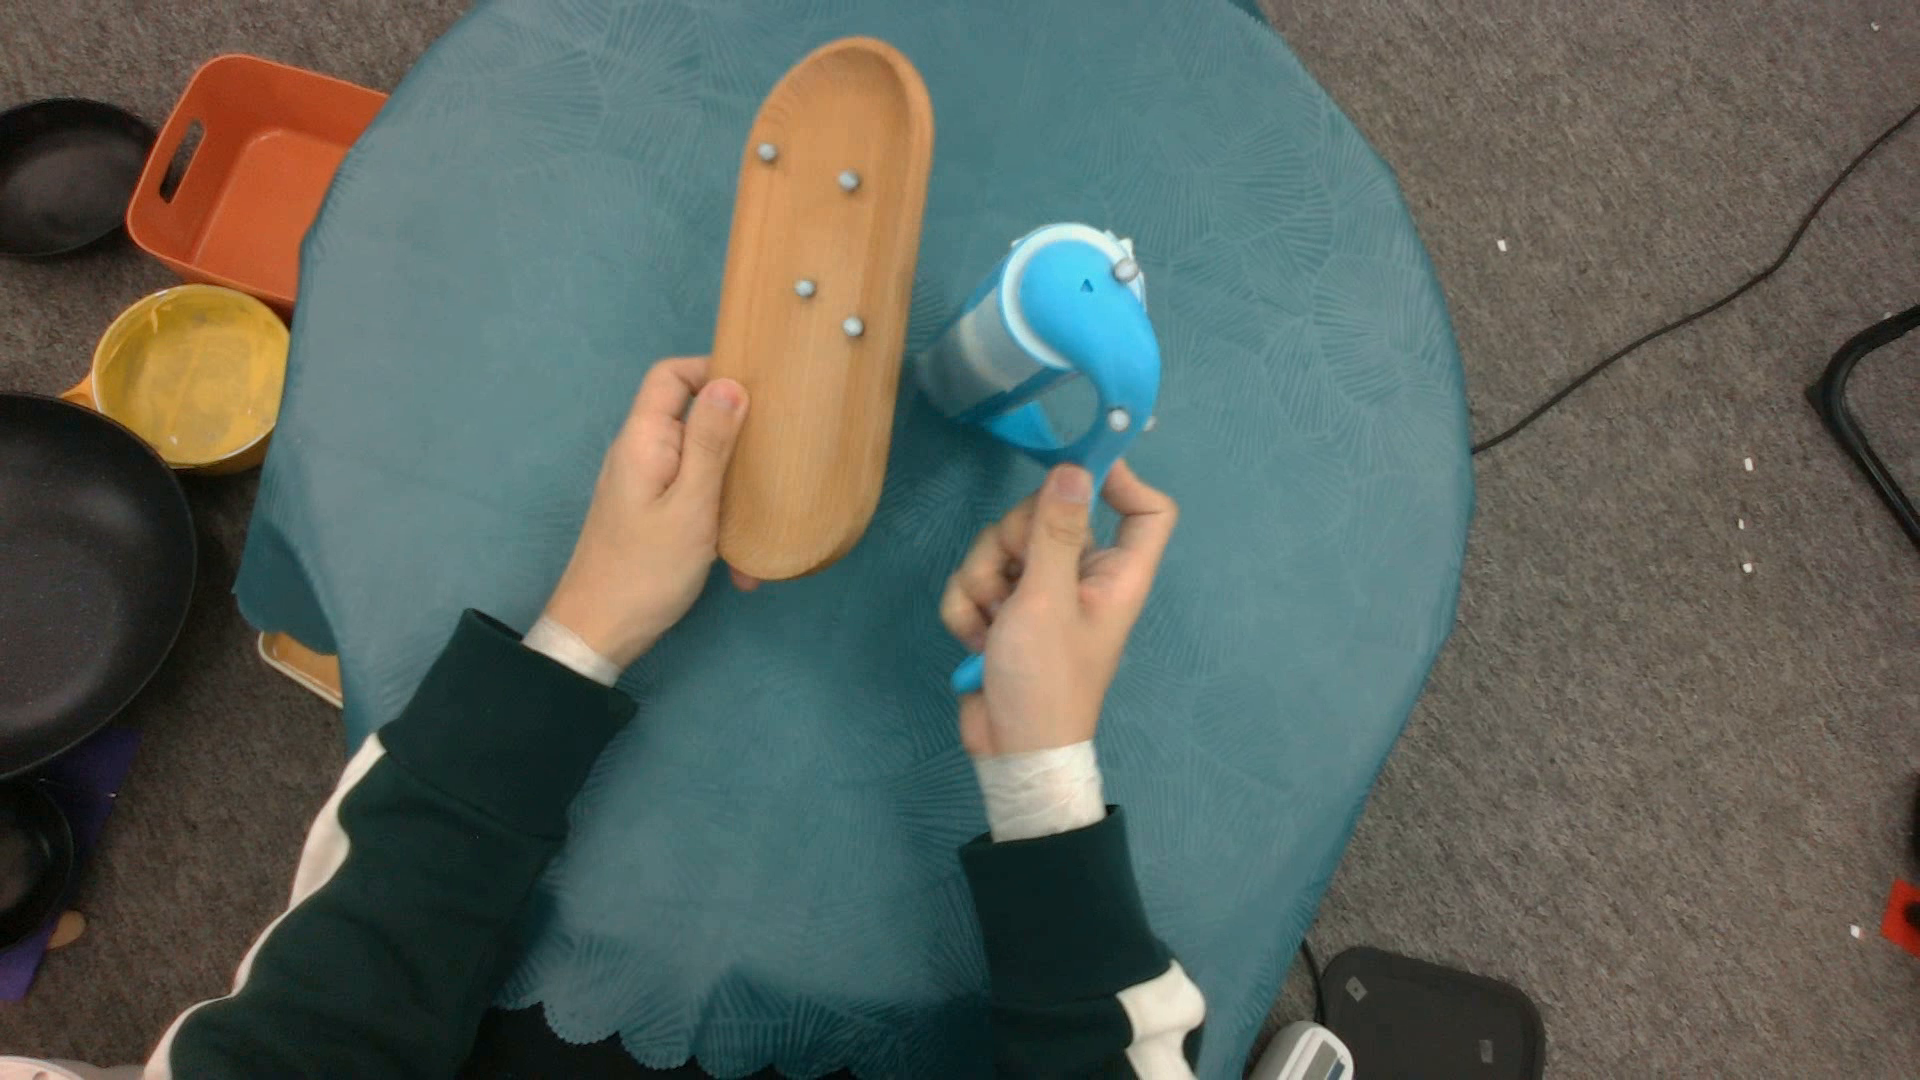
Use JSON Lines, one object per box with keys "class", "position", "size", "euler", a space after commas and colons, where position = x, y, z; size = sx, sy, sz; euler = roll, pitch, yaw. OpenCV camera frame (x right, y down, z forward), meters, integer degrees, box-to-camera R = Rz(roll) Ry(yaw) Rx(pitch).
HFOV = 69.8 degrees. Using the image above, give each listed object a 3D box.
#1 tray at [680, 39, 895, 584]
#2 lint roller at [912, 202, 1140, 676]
{"class": "tray", "position": [-0.073, -0.097, 0.583], "size": [0.020, 0.101, 0.231], "euler": [6, 86, -54]}
{"class": "lint roller", "position": [0.020, -0.034, 0.584], "size": [0.068, 0.229, 0.180], "euler": [-1, 92, -10]}
